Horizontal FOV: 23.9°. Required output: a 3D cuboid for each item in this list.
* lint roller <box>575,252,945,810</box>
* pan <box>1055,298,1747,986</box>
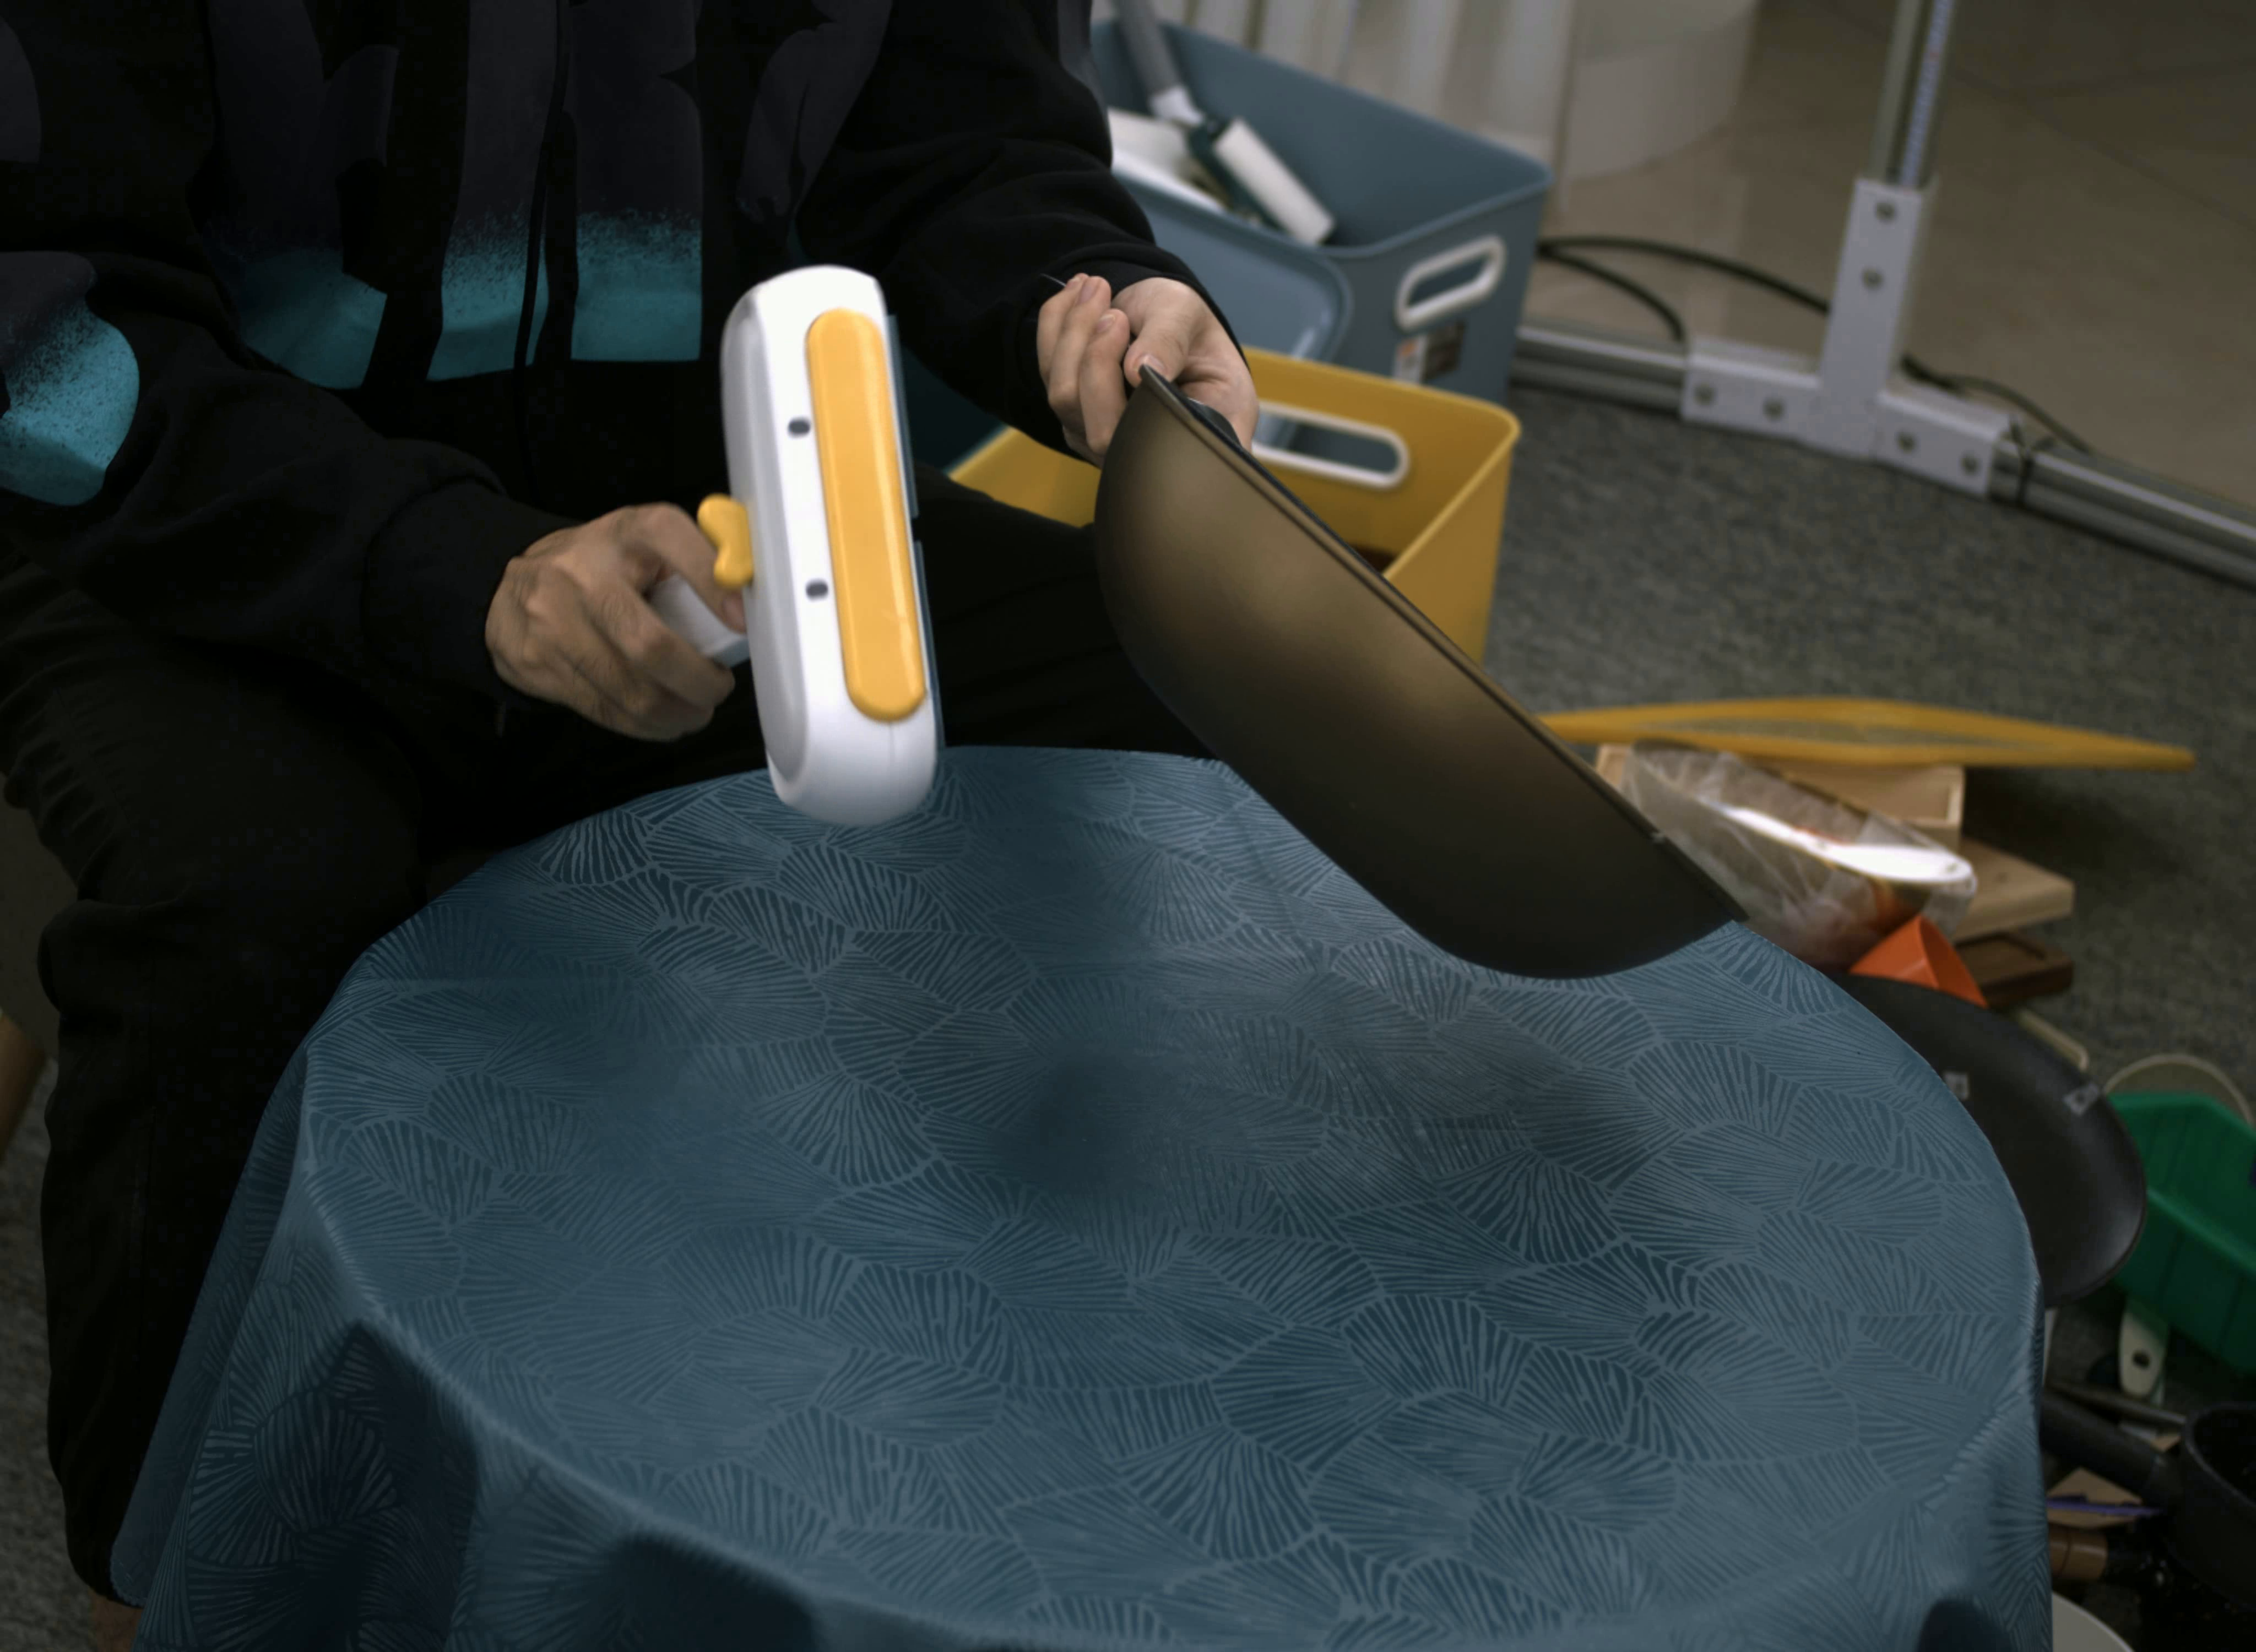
[{"bbox_3d":[-0.134,-0.078,1.842,0.073,0.192,0.194,-7,73,-29],"label":"lint roller"},{"bbox_3d":[0.044,-0.077,1.886,0.285,0.087,0.467,41,4,-37],"label":"pan"}]
